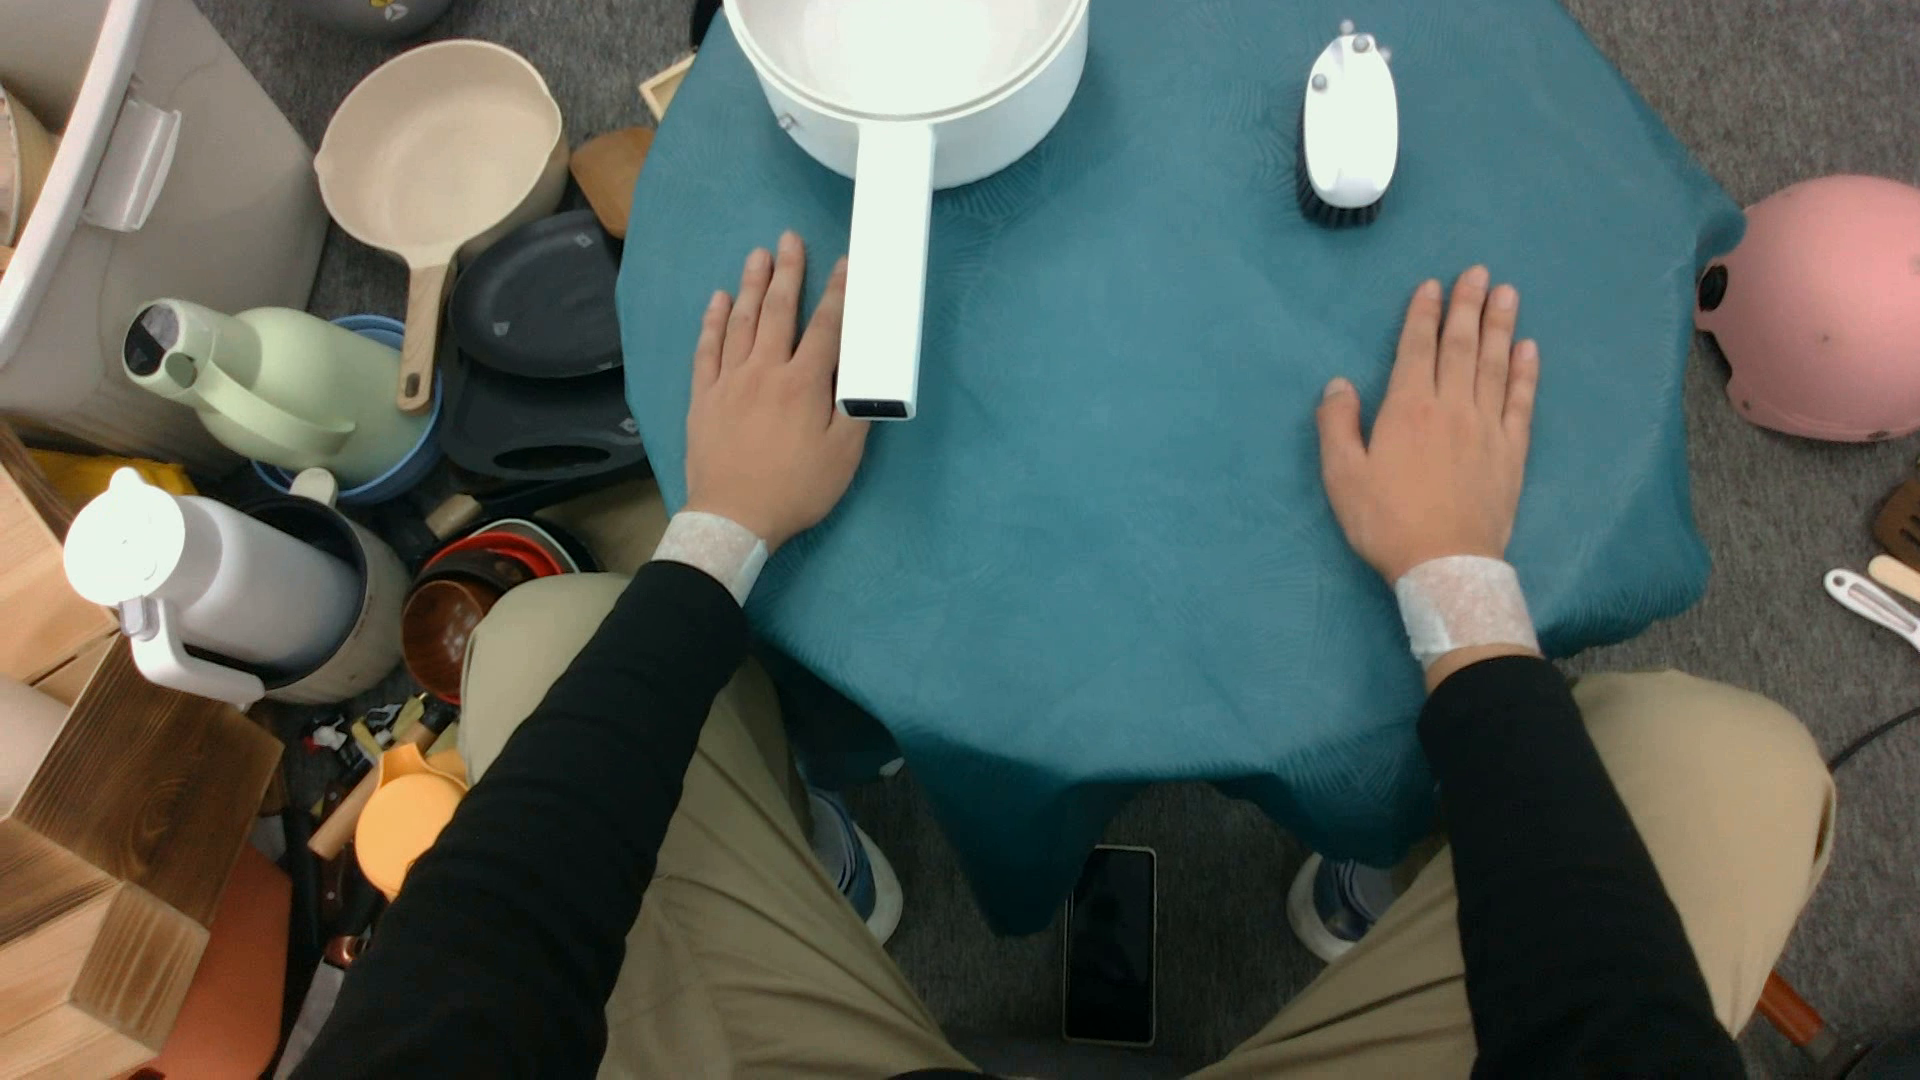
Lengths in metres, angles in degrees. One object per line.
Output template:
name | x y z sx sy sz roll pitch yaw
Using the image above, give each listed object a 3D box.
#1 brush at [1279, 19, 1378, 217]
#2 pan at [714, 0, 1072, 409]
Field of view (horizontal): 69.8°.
brush | 0.206 -0.239 0.759 0.050 0.072 0.099 3 75 5
pan | -0.038 -0.233 0.764 0.201 0.102 0.355 2 75 3
